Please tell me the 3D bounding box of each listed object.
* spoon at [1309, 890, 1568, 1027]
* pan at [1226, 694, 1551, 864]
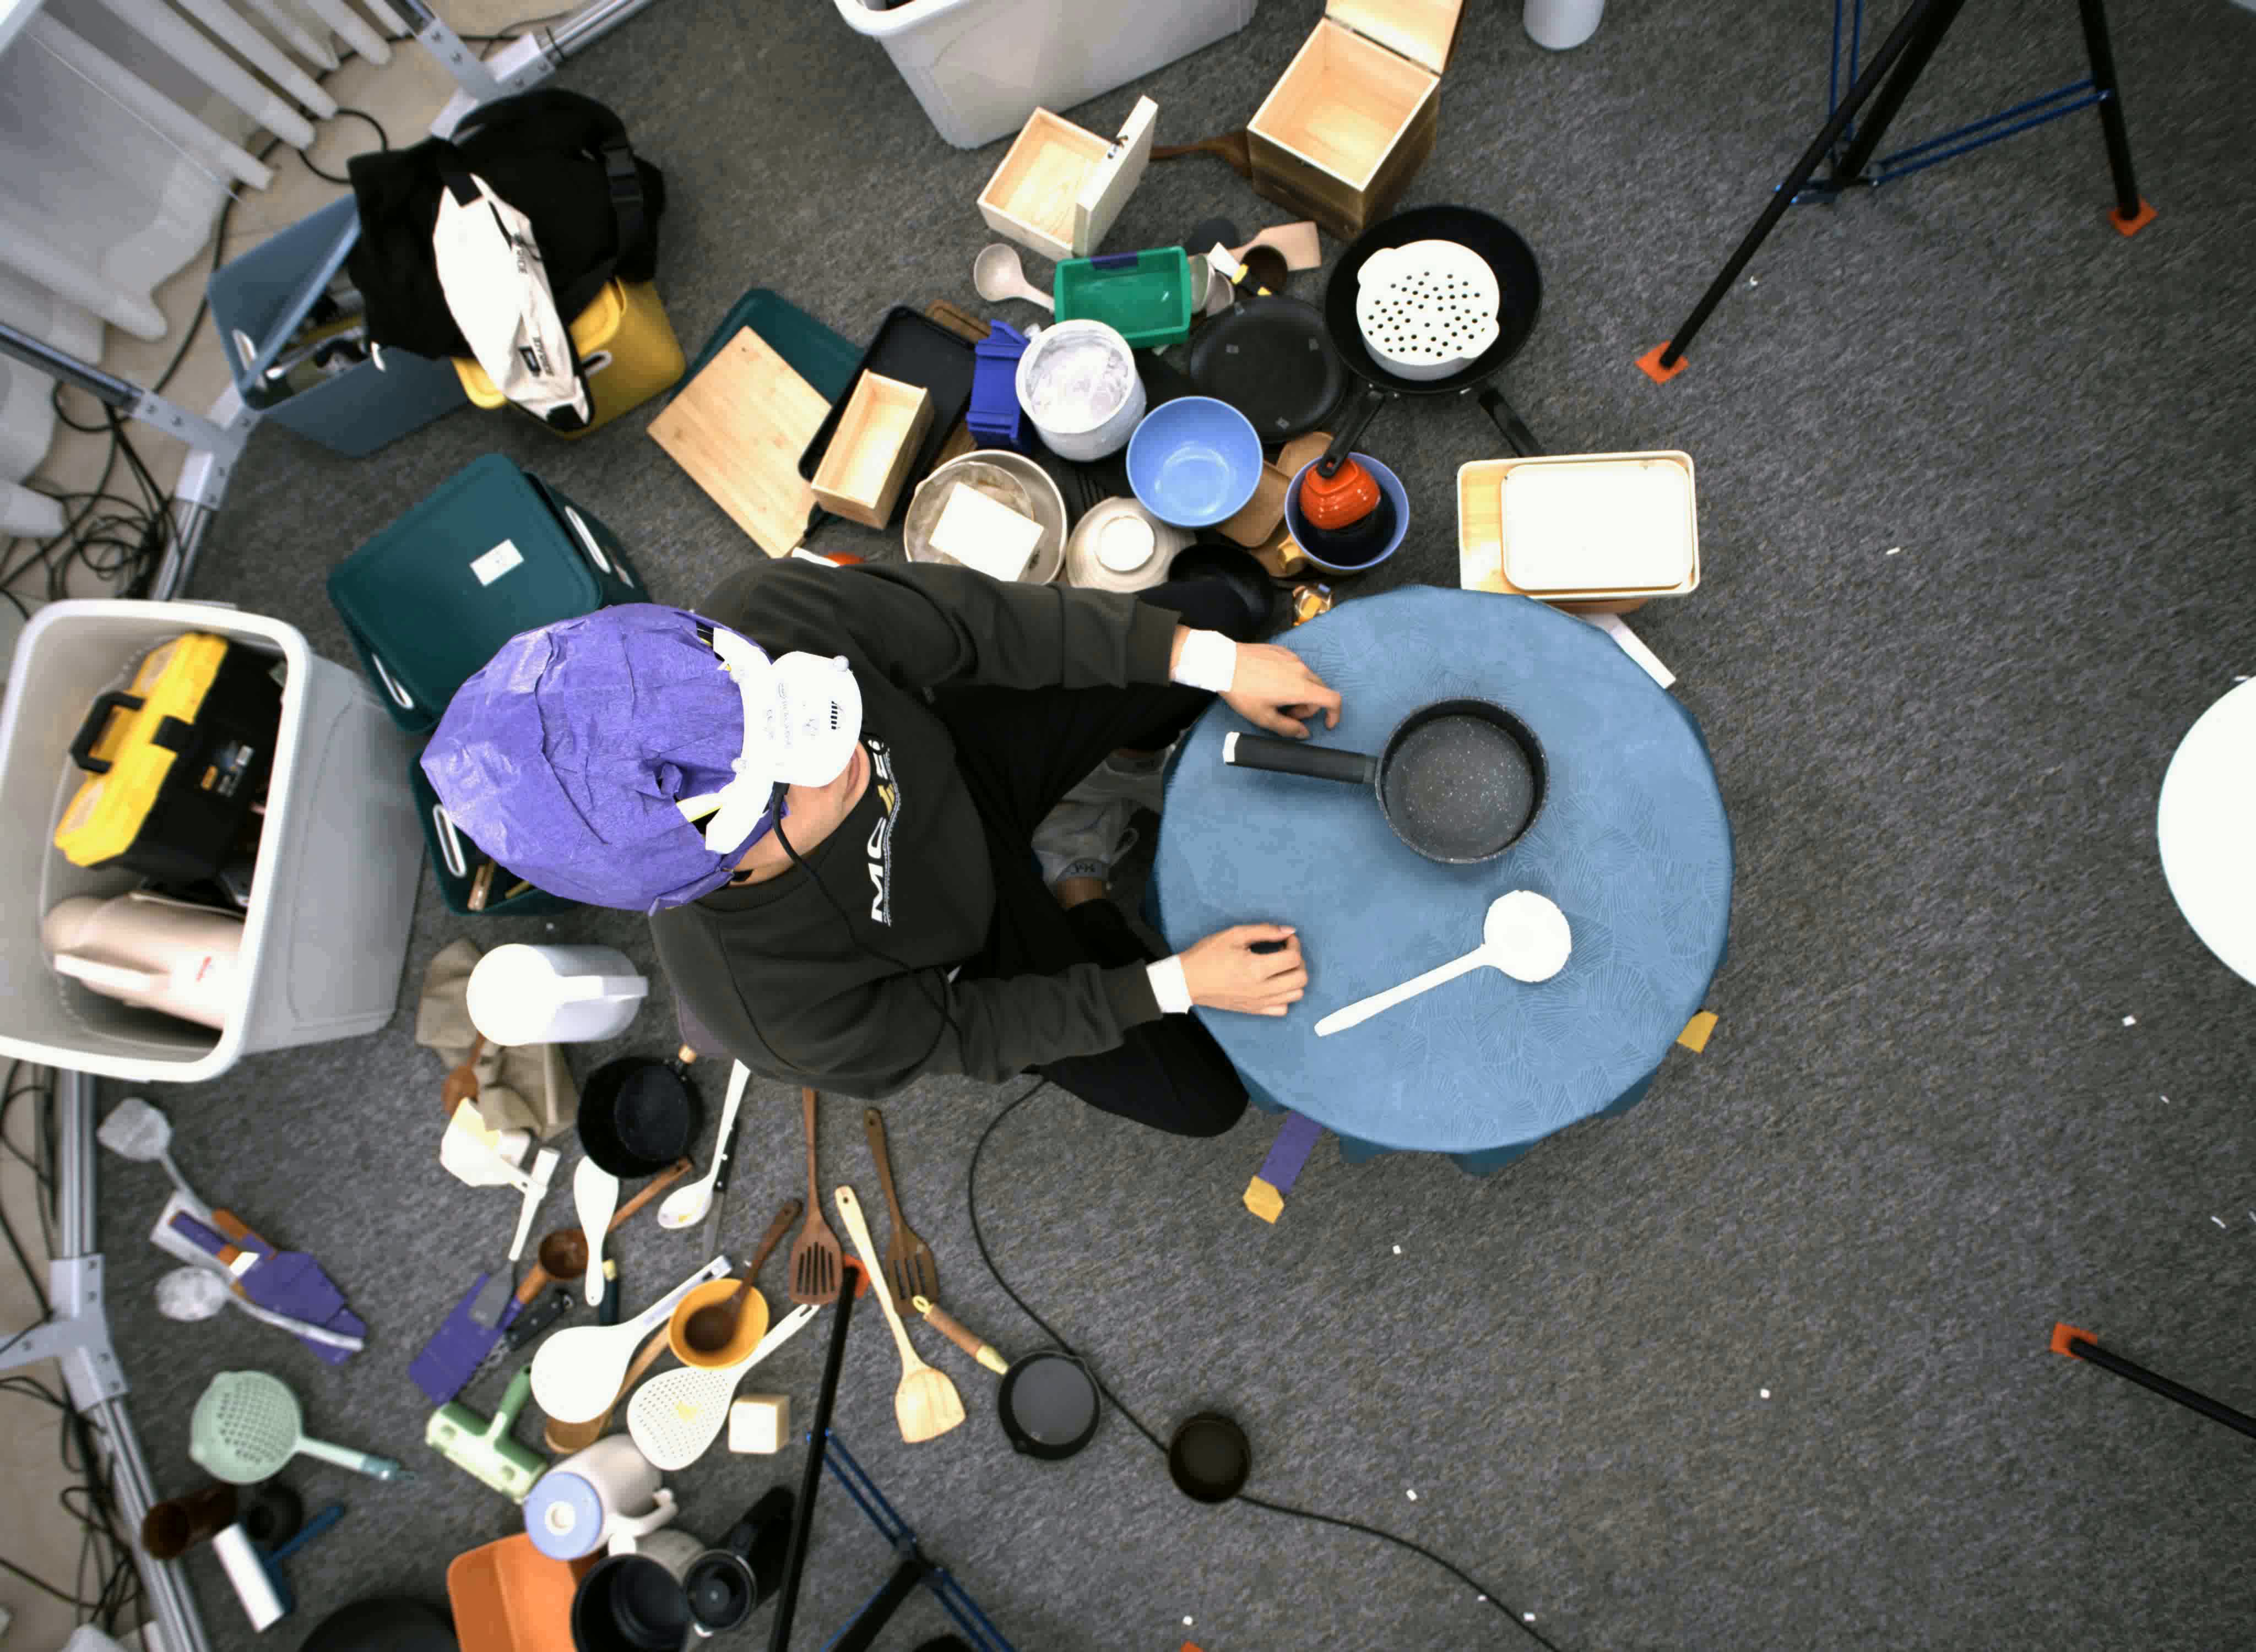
[{"bbox_3d":[0.313,0.146,1.419,0.279,0.059,0.100,-23,80,9],"label":"spoon"},{"bbox_3d":[0.265,-0.060,1.426,0.329,0.086,0.171,11,87,10],"label":"pan"}]
